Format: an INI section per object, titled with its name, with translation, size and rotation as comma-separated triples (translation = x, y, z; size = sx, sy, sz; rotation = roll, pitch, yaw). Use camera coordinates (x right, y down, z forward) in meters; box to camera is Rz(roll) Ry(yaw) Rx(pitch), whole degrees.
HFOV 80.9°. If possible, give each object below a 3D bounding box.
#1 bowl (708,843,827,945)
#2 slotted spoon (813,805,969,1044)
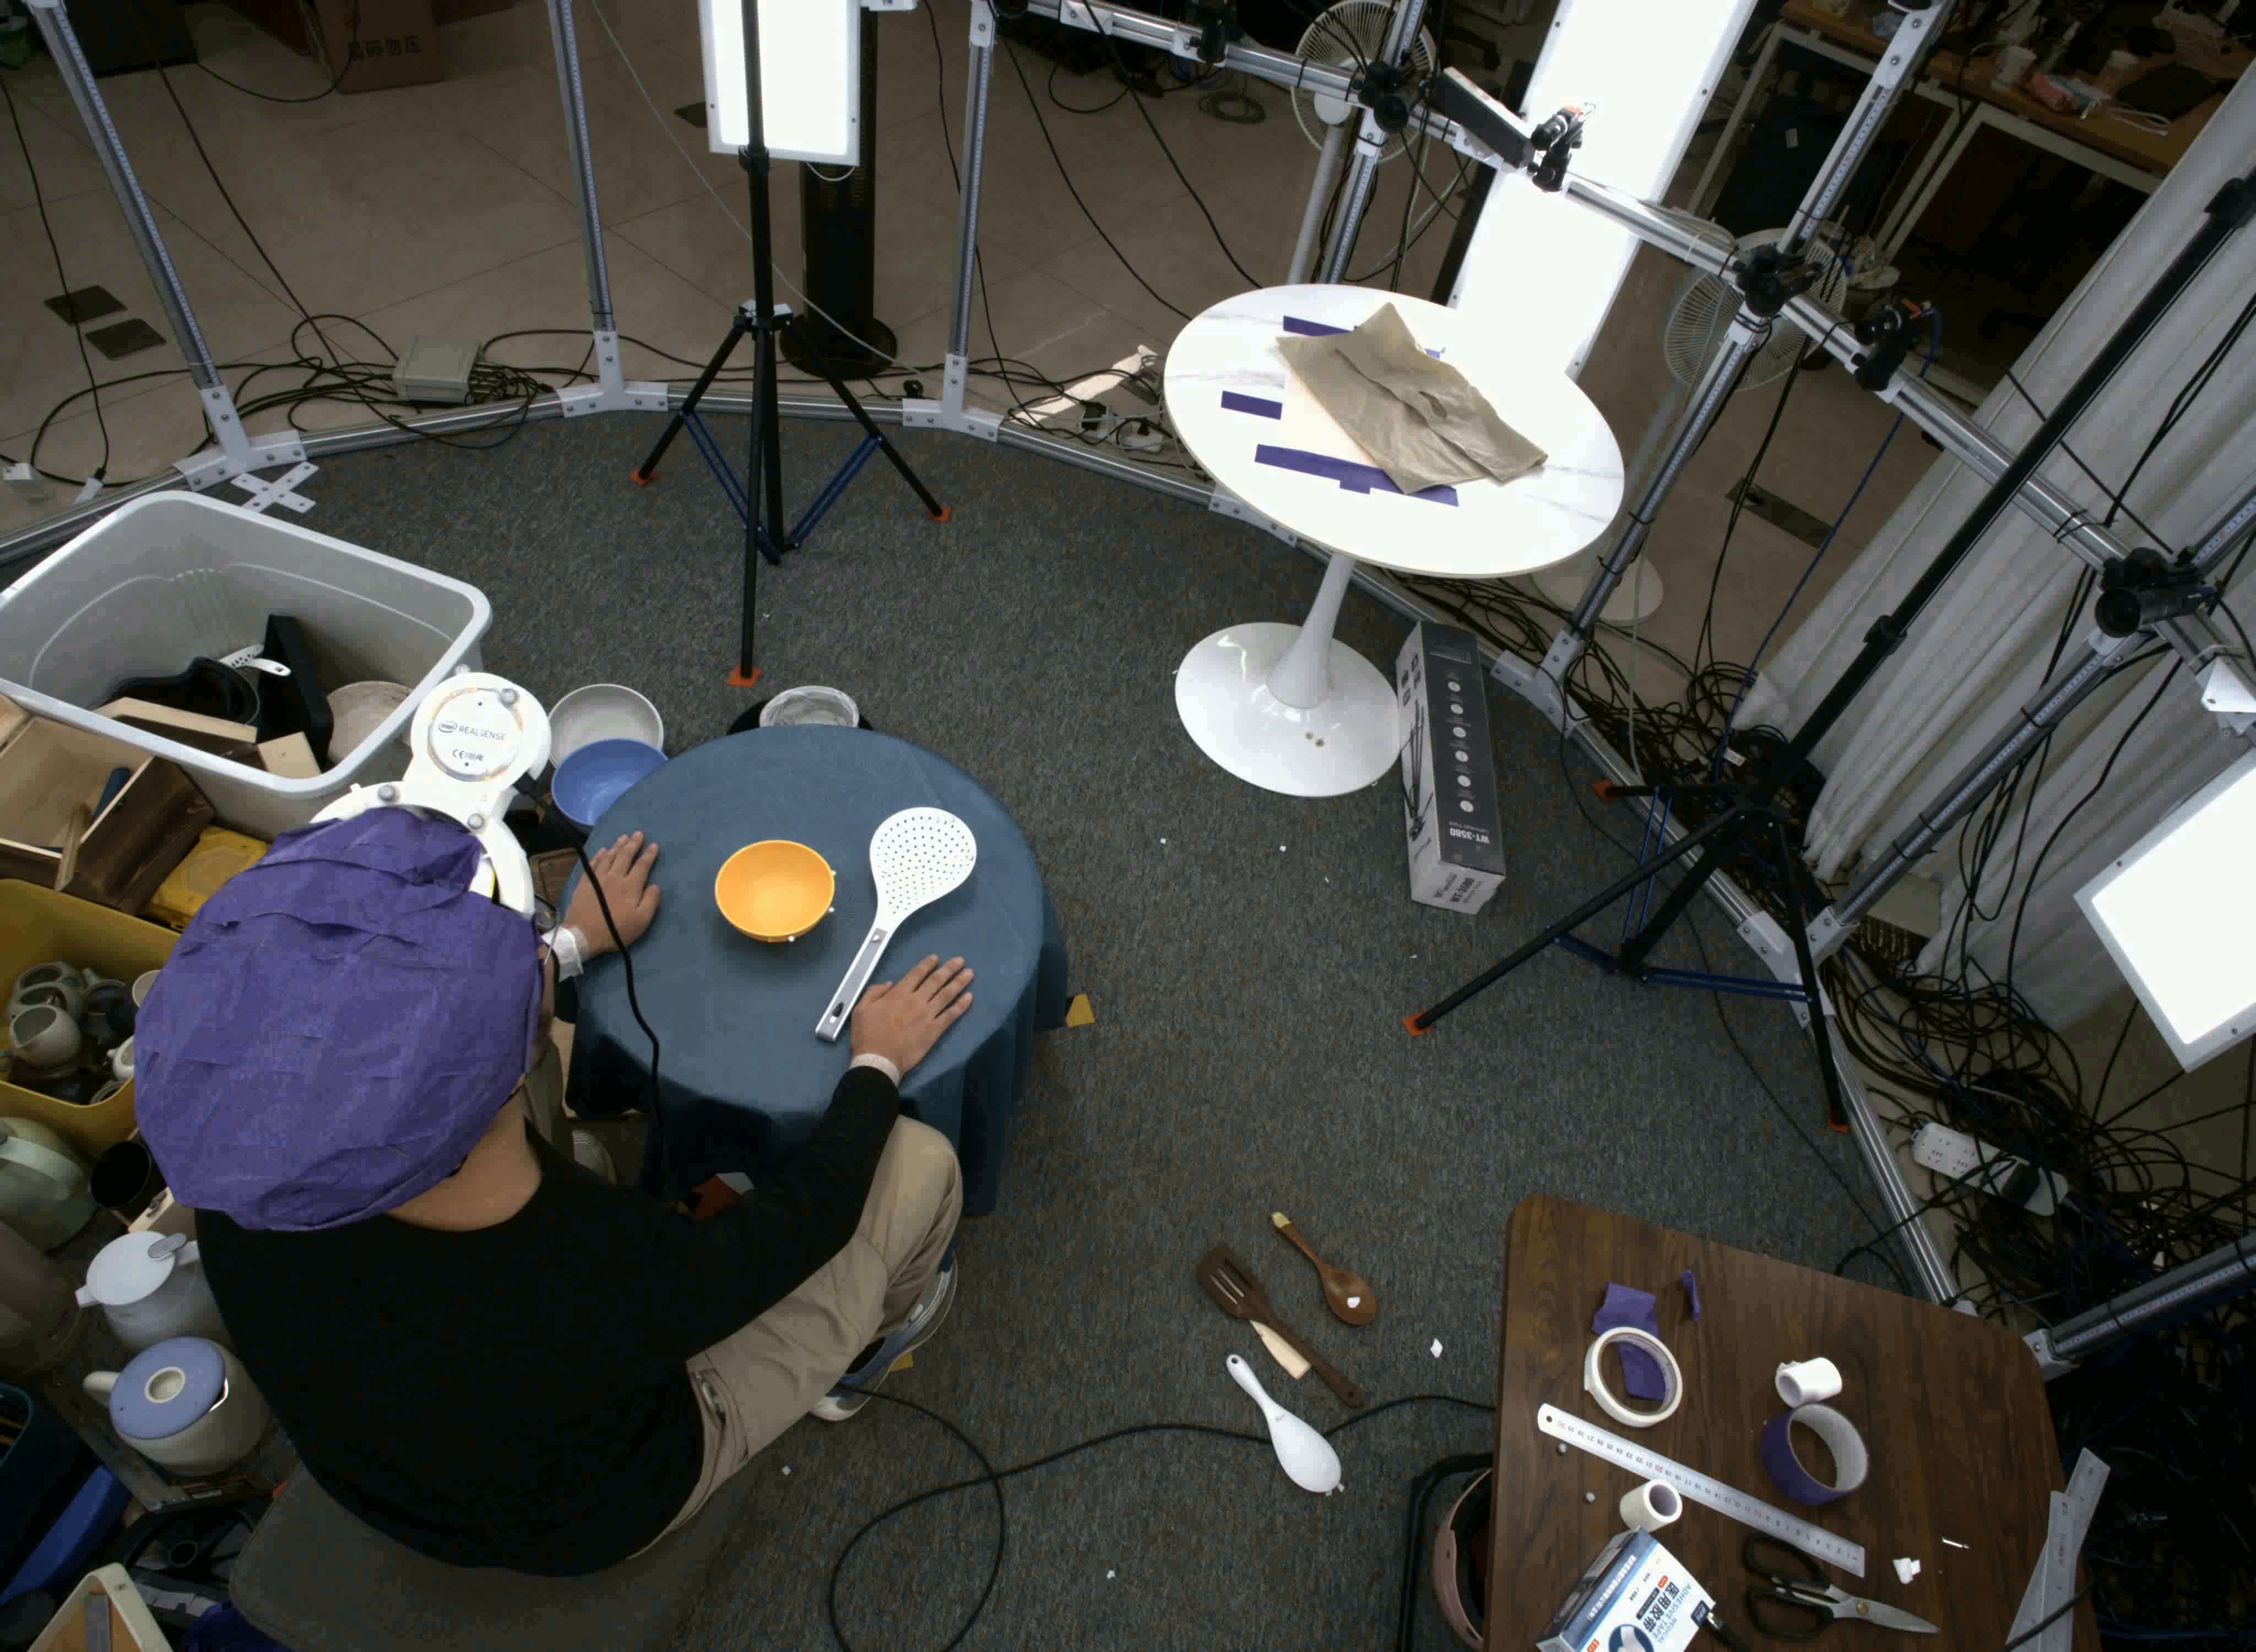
[bowl]
translation = -0.445, 0.094, 1.607
size = 0.145, 0.061, 0.142
rotation = 7, 50, -7
[slotted spoon]
translation = -0.308, 0.117, 1.632
size = 0.134, 0.046, 0.346
rotation = 21, 53, 2
